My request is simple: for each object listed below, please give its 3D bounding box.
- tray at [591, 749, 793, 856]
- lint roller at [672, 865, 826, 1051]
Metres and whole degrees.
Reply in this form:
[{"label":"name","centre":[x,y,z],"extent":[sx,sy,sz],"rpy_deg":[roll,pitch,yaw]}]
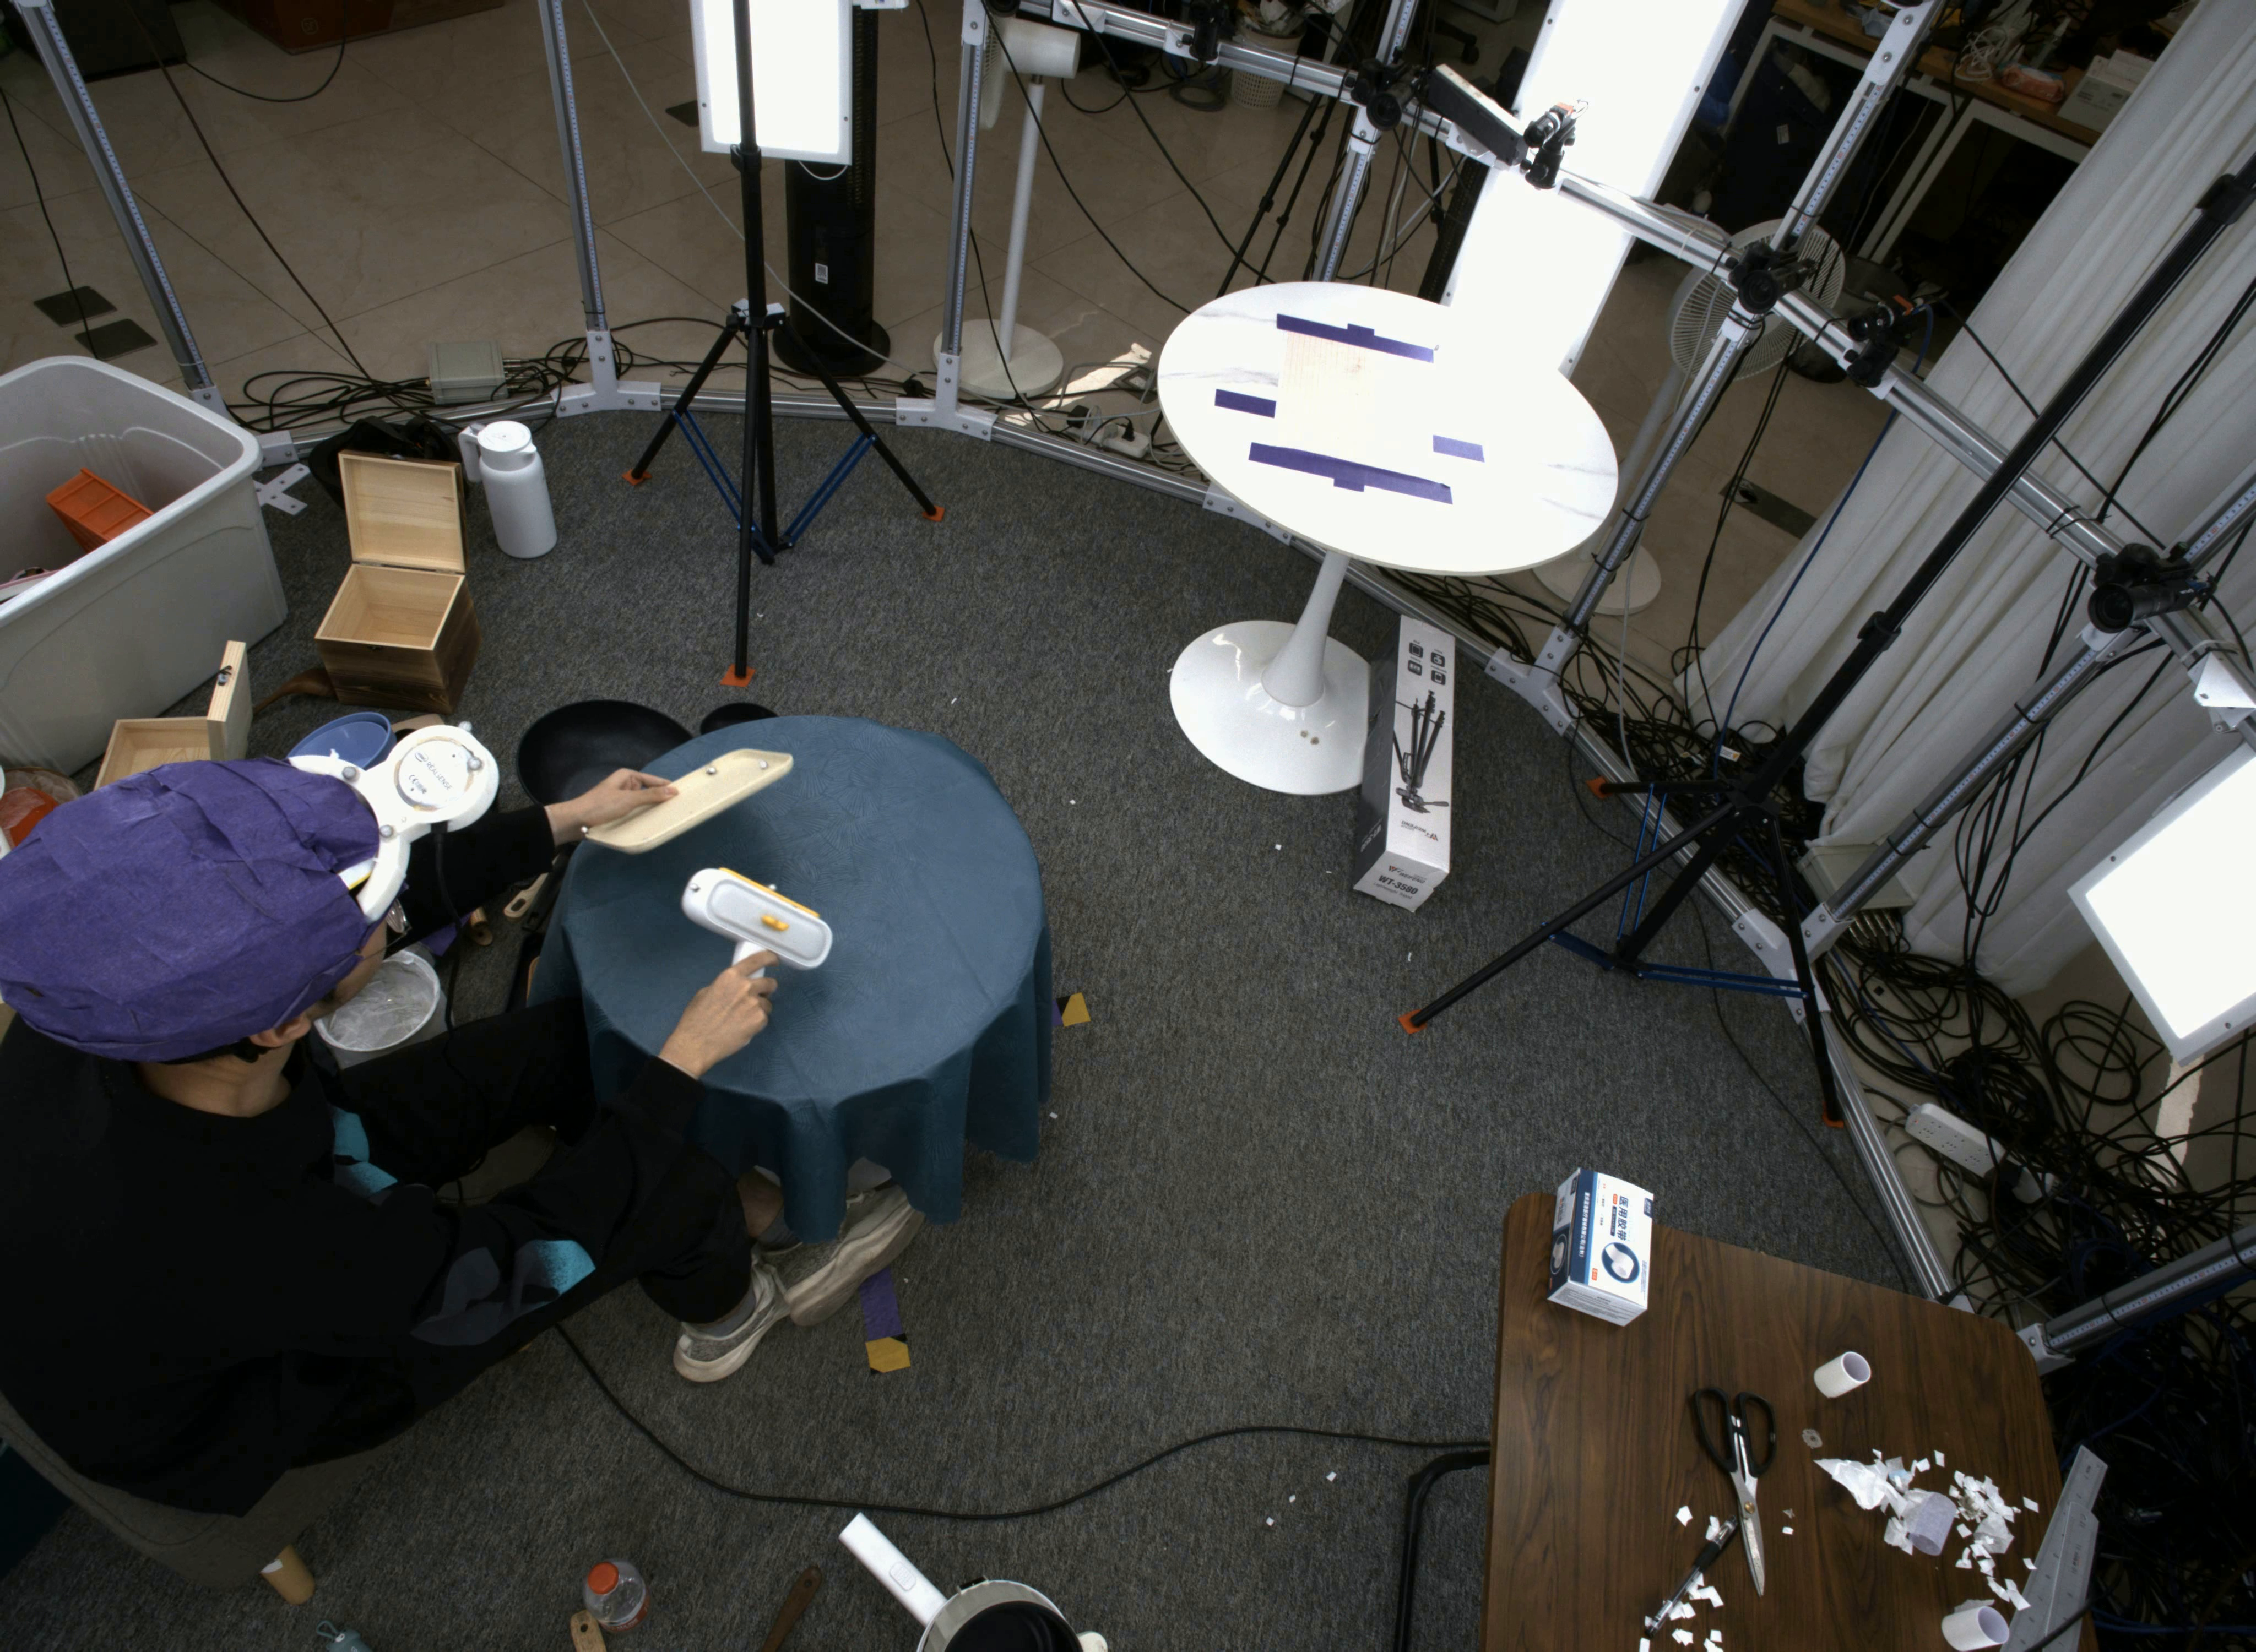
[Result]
[{"label":"tray","centre":[-0.534,-0.032,1.574],"extent":[0.240,0.018,0.165],"rpy_deg":[-34,28,-34]},{"label":"lint roller","centre":[-0.438,0.158,1.476],"extent":[0.072,0.199,0.191],"rpy_deg":[-6,66,36]}]
